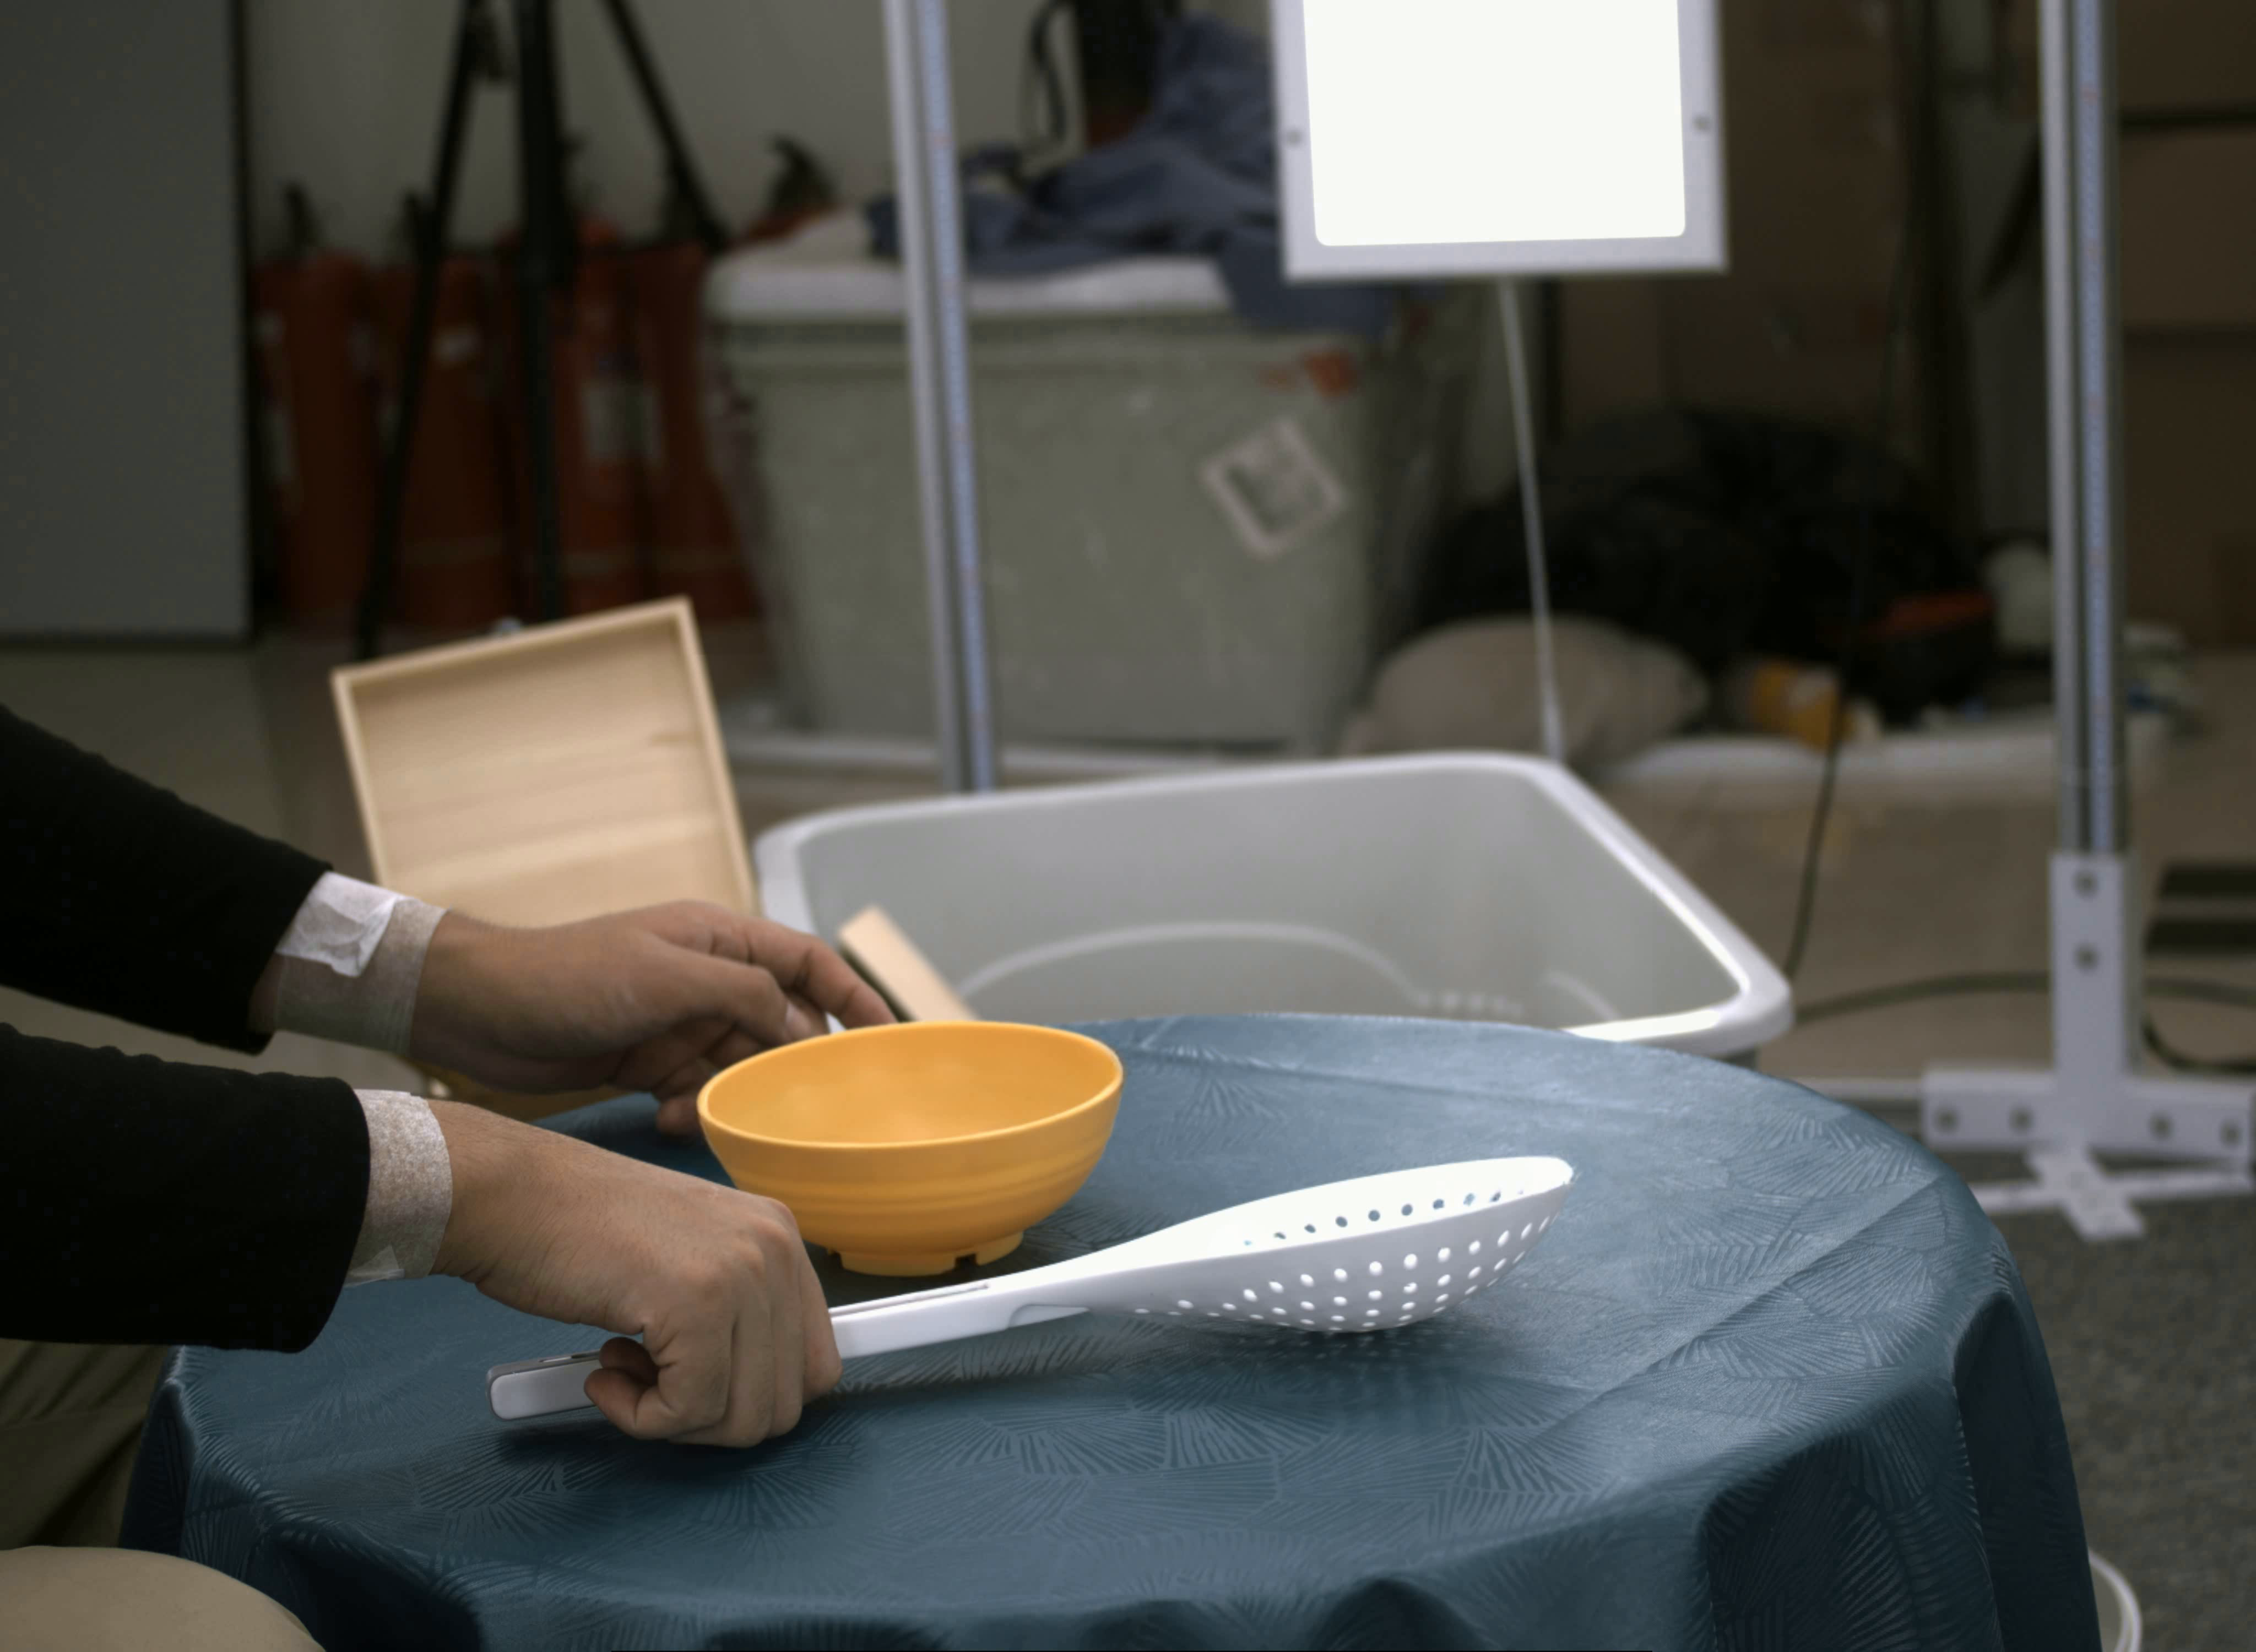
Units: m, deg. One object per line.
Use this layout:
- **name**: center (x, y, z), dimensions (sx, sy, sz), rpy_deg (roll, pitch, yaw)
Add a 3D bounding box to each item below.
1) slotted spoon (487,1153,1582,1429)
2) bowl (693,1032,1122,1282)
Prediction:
- **slotted spoon**: center (-0.027, 0.145, 1.722), dimensions (0.347, 0.046, 0.136), rpy_deg (-6, 2, -5)
- **bowl**: center (-0.073, 0.115, 1.853), dimensions (0.145, 0.060, 0.145), rpy_deg (-3, 13, -1)
